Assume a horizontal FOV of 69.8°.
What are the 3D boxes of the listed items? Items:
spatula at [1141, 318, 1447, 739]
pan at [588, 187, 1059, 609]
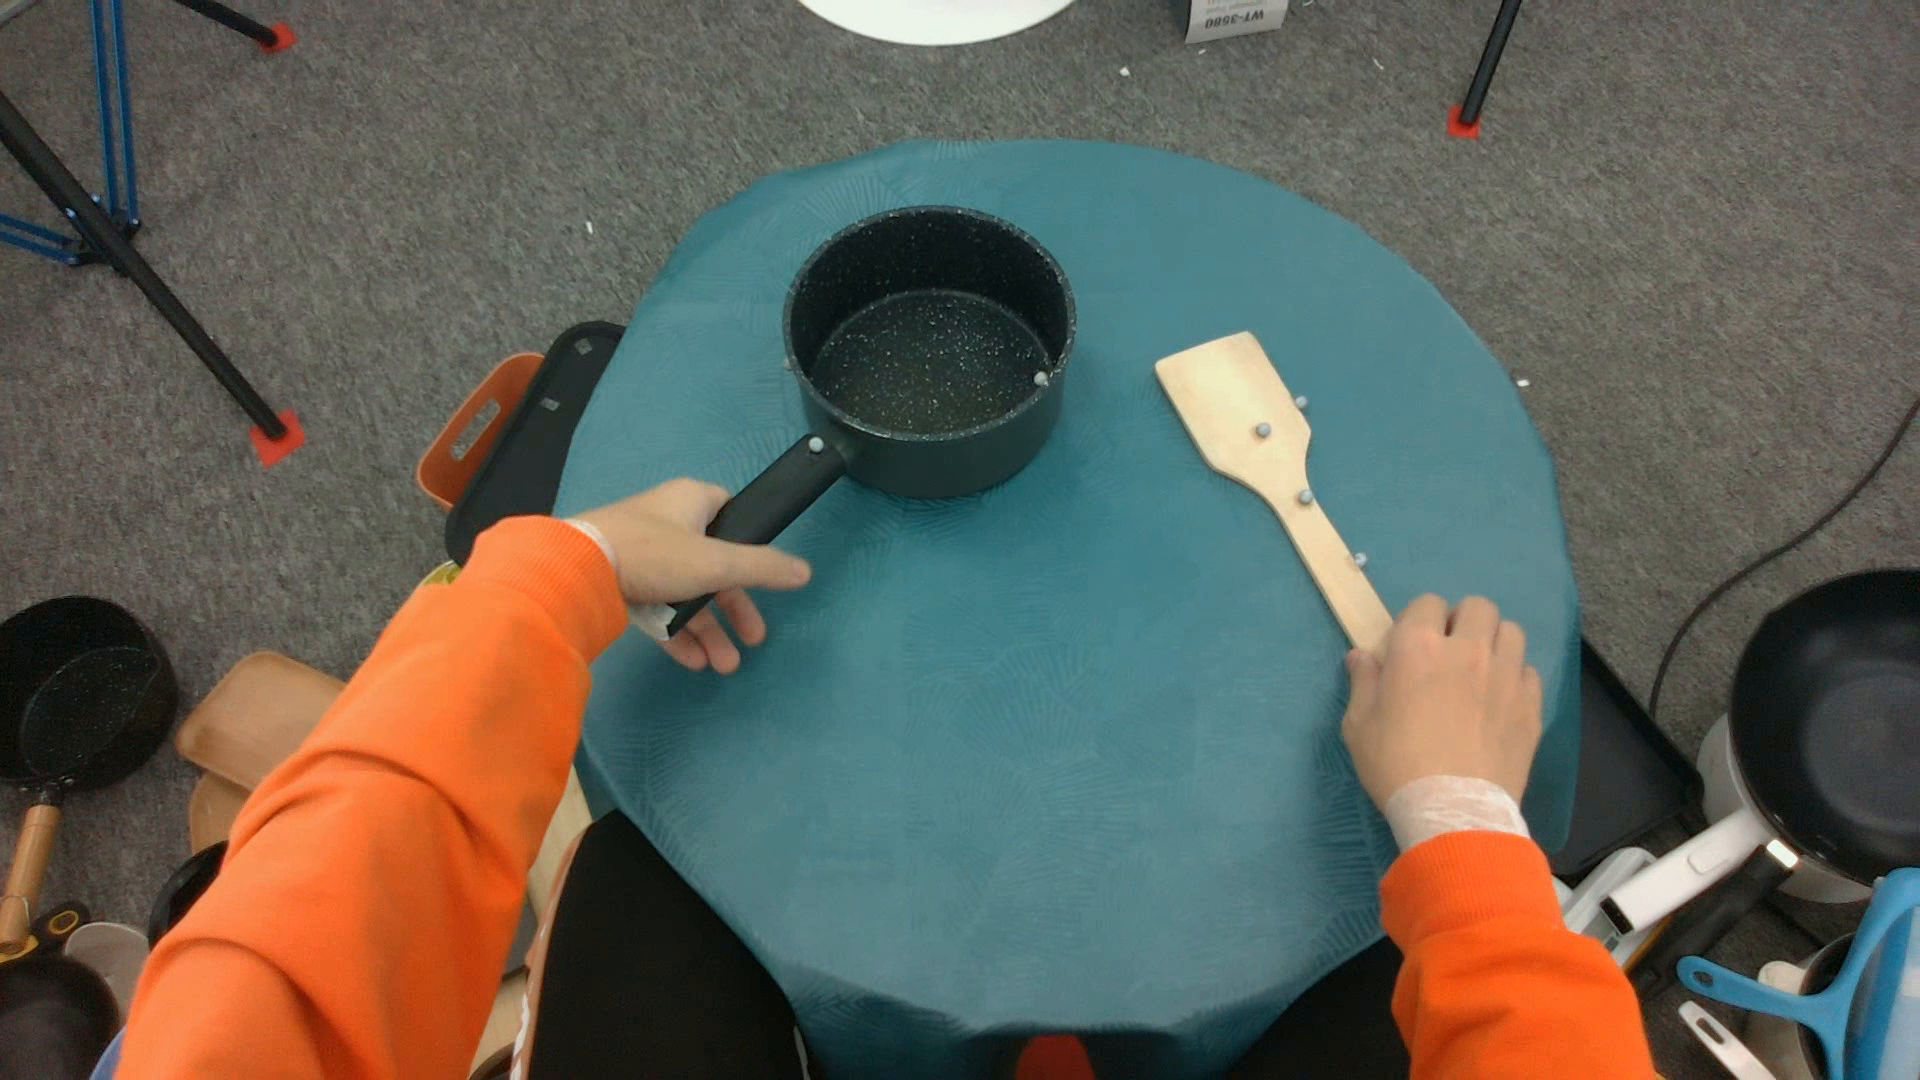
[{"bbox_3d":[0.199,-0.014,0.804,0.072,0.010,0.294,-18,62,-12],"label":"spatula"},{"bbox_3d":[-0.077,-0.068,0.793,0.172,0.086,0.330,34,65,18],"label":"pan"}]
